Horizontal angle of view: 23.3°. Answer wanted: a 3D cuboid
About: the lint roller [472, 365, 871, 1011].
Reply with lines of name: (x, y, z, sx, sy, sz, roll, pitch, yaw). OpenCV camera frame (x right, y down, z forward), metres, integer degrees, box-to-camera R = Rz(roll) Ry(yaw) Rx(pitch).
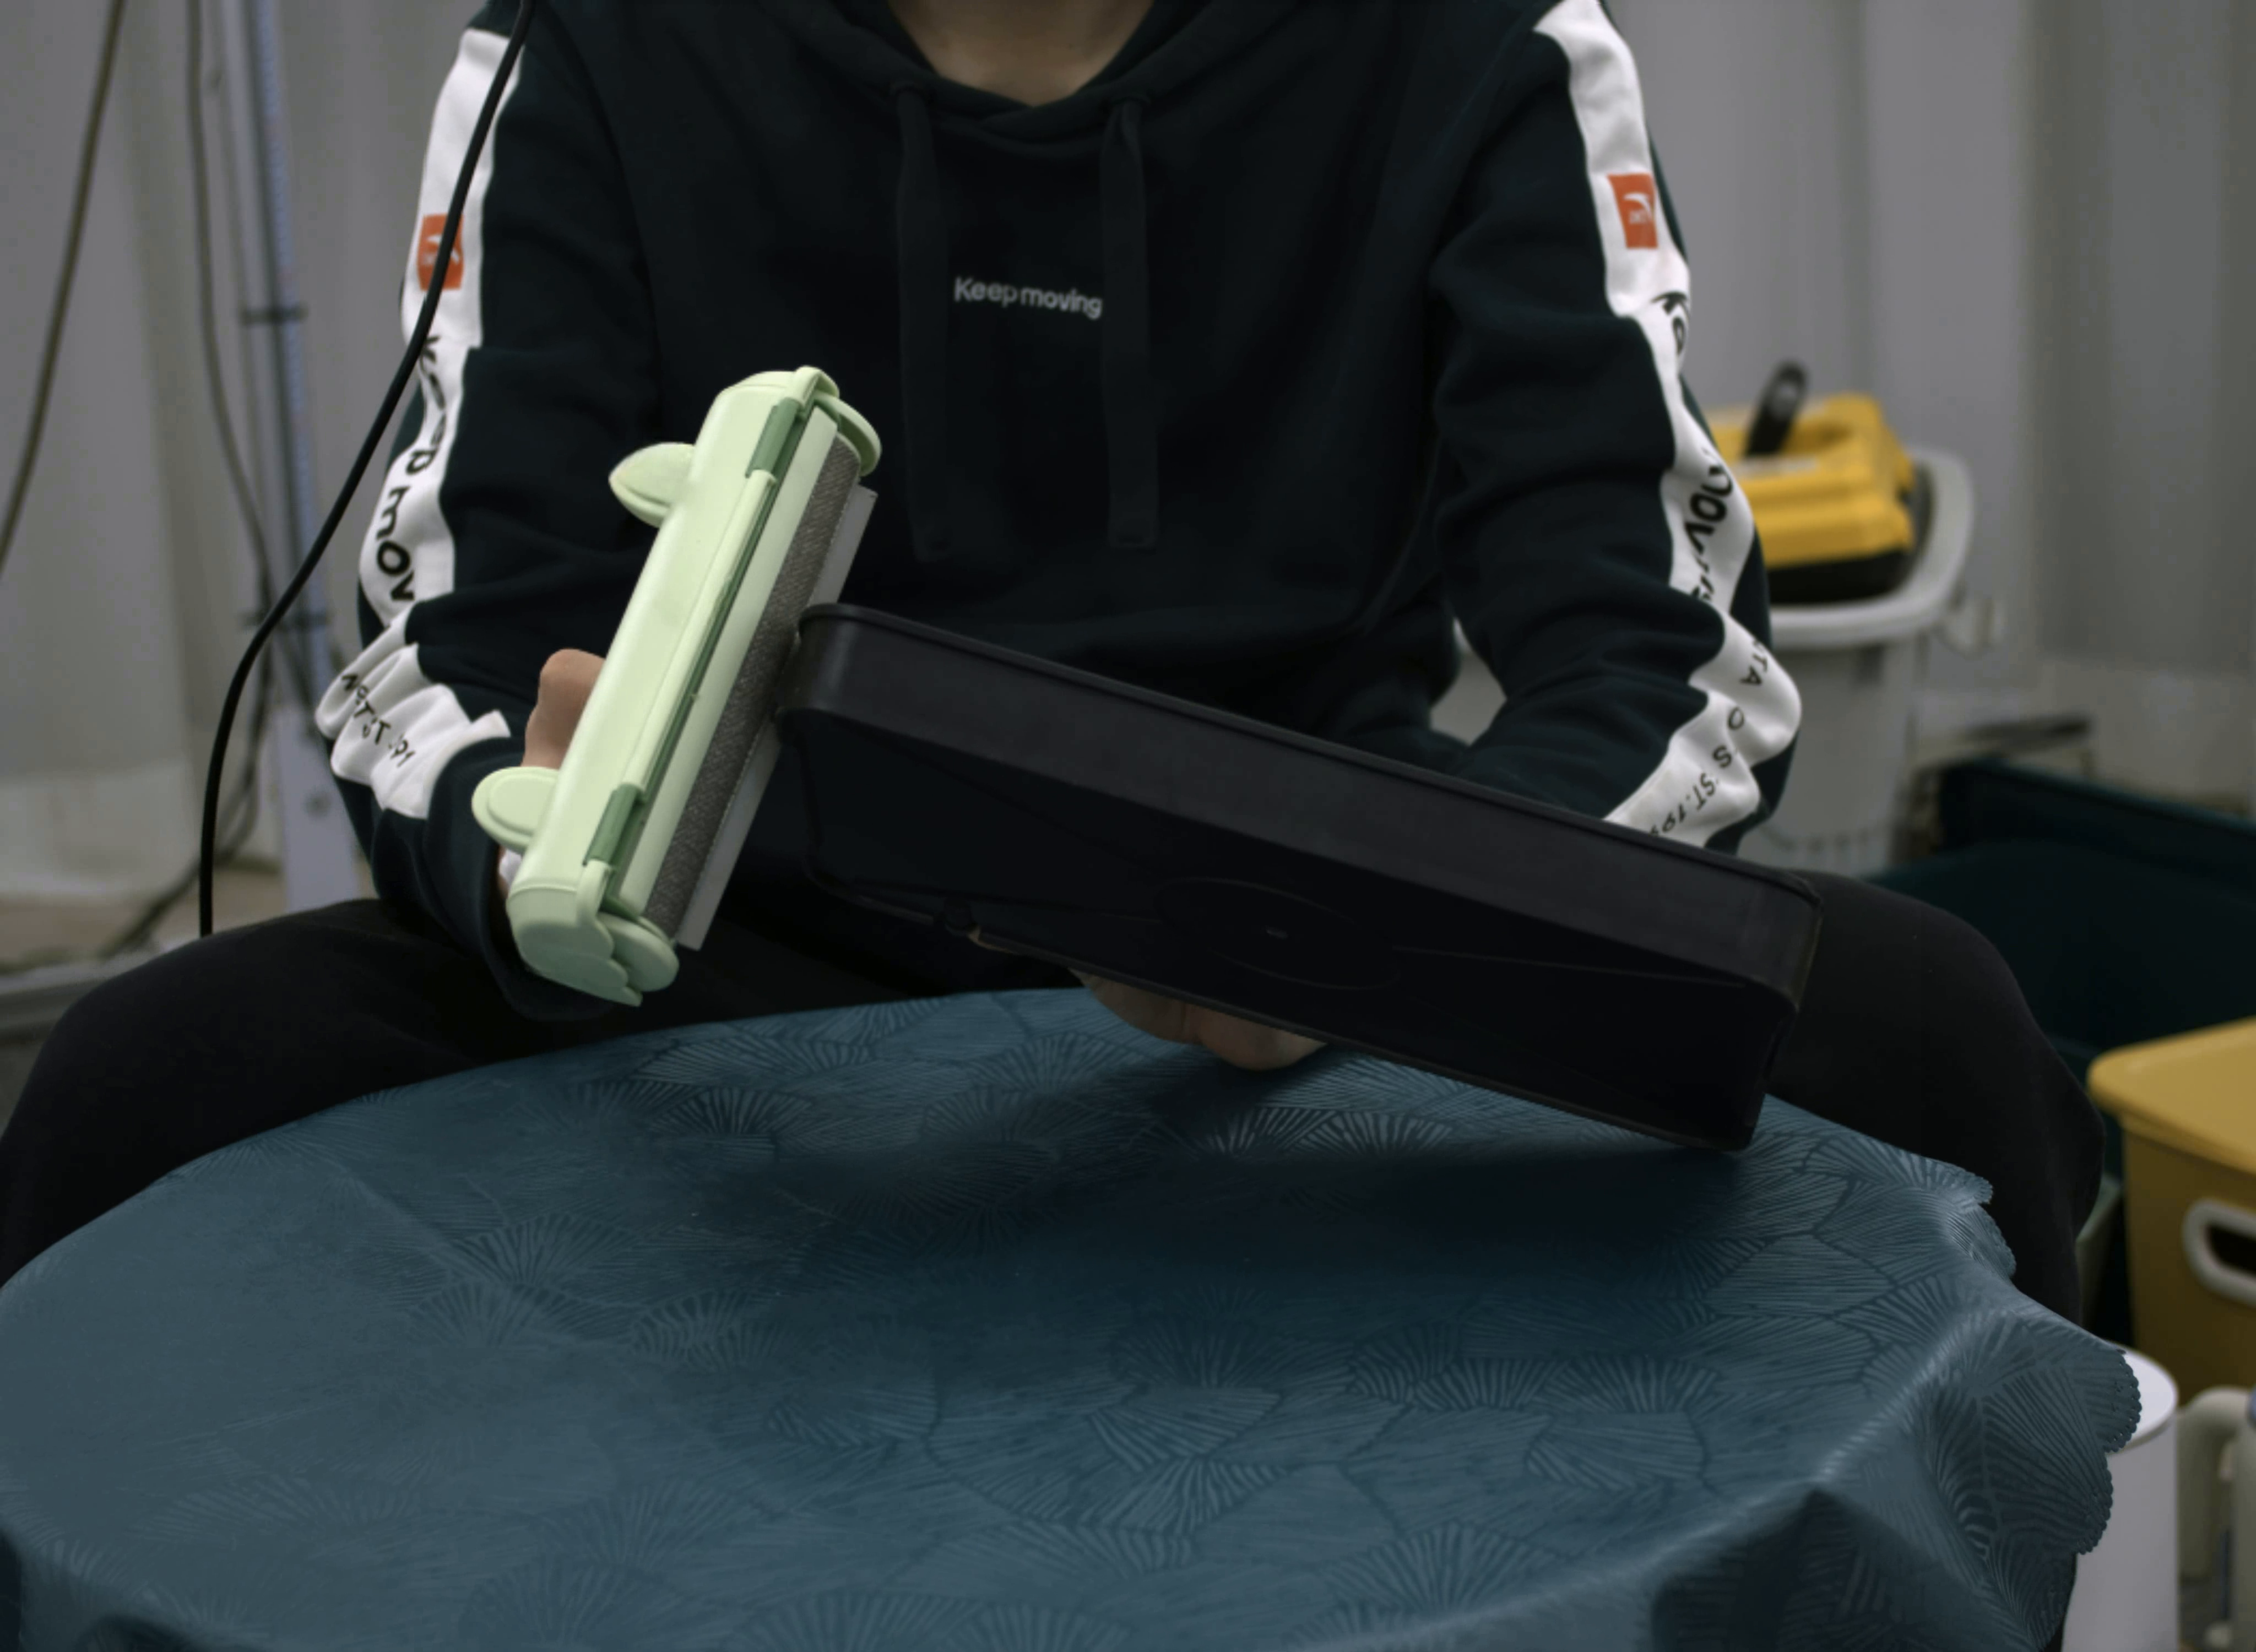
lint roller: (-0.155, -0.029, 1.677, 0.081, 0.201, 0.182, 25, -26, -13)

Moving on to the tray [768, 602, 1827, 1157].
tray: (0.048, 0.019, 1.663, 0.318, 0.037, 0.182, 16, -19, 7)
